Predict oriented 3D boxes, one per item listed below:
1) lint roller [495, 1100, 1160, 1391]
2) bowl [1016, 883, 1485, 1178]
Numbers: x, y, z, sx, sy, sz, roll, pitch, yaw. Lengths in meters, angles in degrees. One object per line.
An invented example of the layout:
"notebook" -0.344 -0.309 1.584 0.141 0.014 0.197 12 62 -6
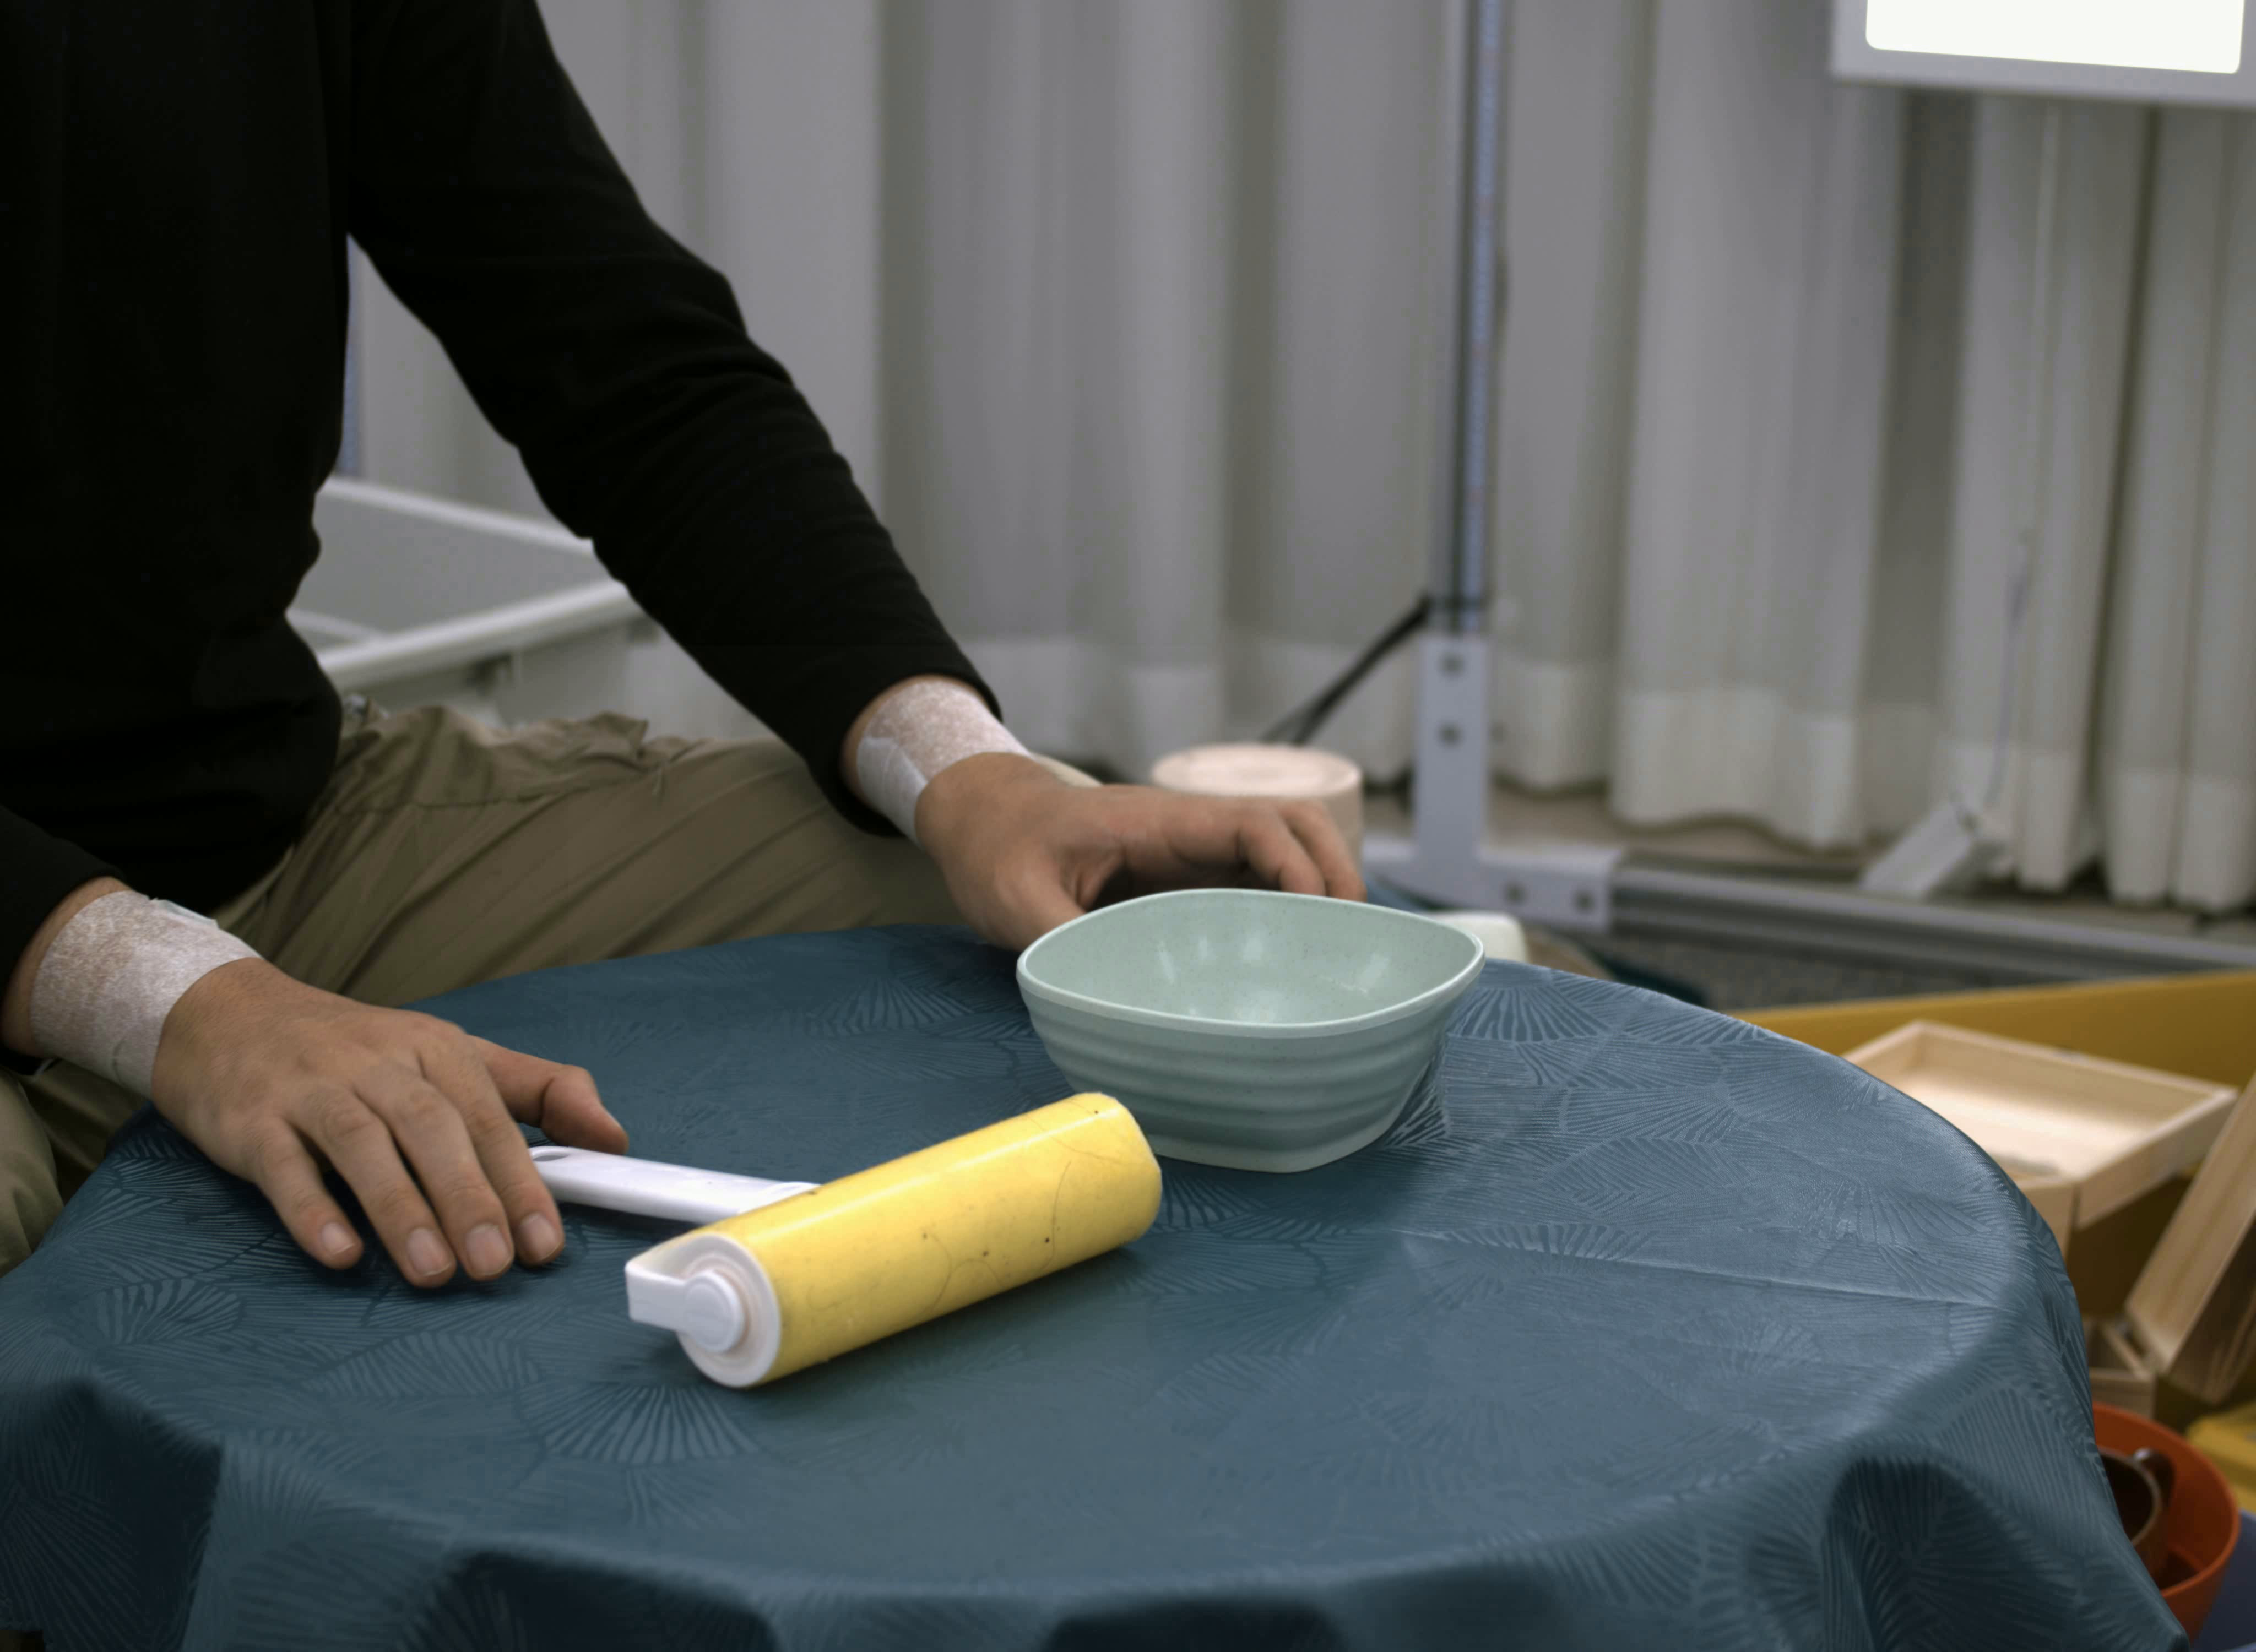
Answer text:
"lint roller" -0.115 0.103 1.551 0.189 0.052 0.175 18 23 36
"bowl" 0.039 0.068 1.675 0.151 0.059 0.150 2 17 0
